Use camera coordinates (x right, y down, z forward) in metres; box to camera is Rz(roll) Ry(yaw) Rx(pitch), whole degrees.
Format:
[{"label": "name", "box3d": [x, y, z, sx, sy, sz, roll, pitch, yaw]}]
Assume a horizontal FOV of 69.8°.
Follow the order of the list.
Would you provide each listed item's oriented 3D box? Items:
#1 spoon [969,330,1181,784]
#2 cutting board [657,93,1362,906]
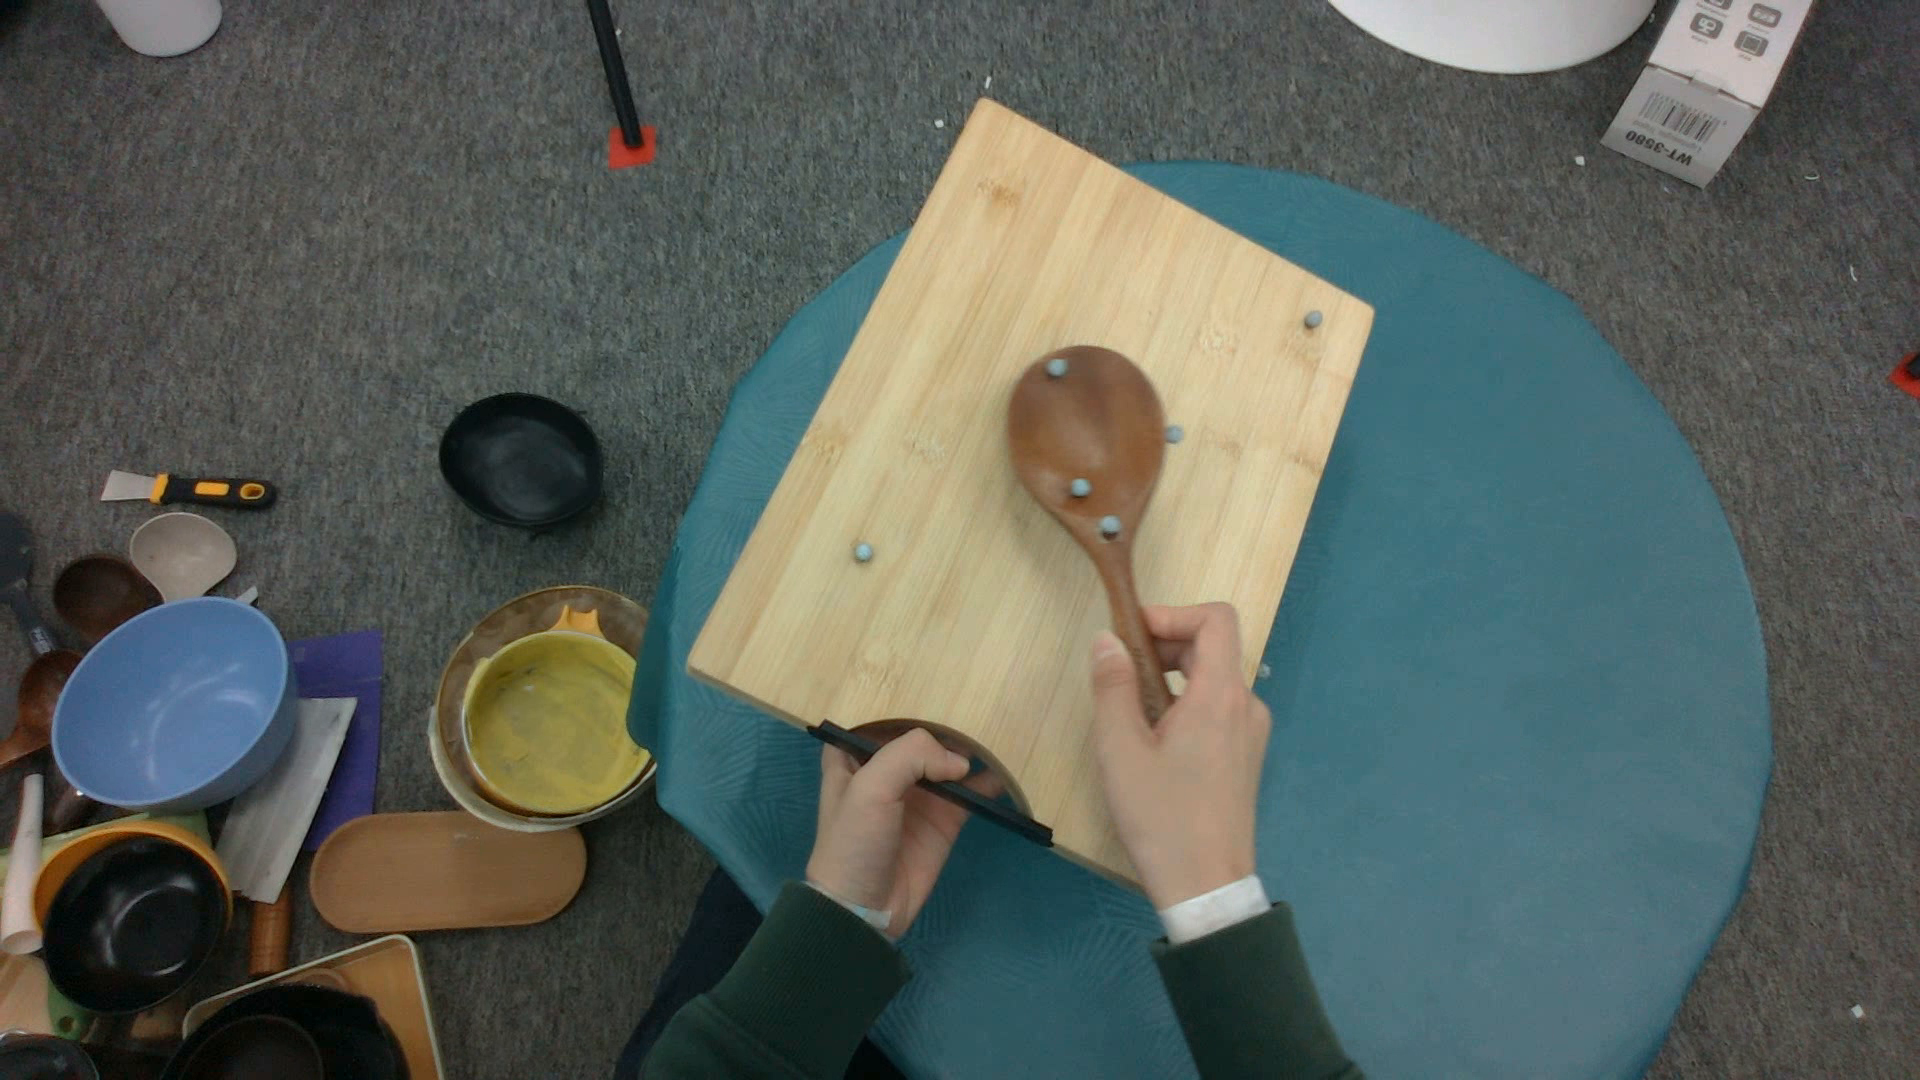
[{"label": "spoon", "box3d": [0.056, 0.001, 0.598, 0.075, 0.017, 0.216, -10, 65, -7]}, {"label": "cutting board", "box3d": [0.044, -0.034, 0.666, 0.251, 0.023, 0.350, 25, 65, -6]}]
